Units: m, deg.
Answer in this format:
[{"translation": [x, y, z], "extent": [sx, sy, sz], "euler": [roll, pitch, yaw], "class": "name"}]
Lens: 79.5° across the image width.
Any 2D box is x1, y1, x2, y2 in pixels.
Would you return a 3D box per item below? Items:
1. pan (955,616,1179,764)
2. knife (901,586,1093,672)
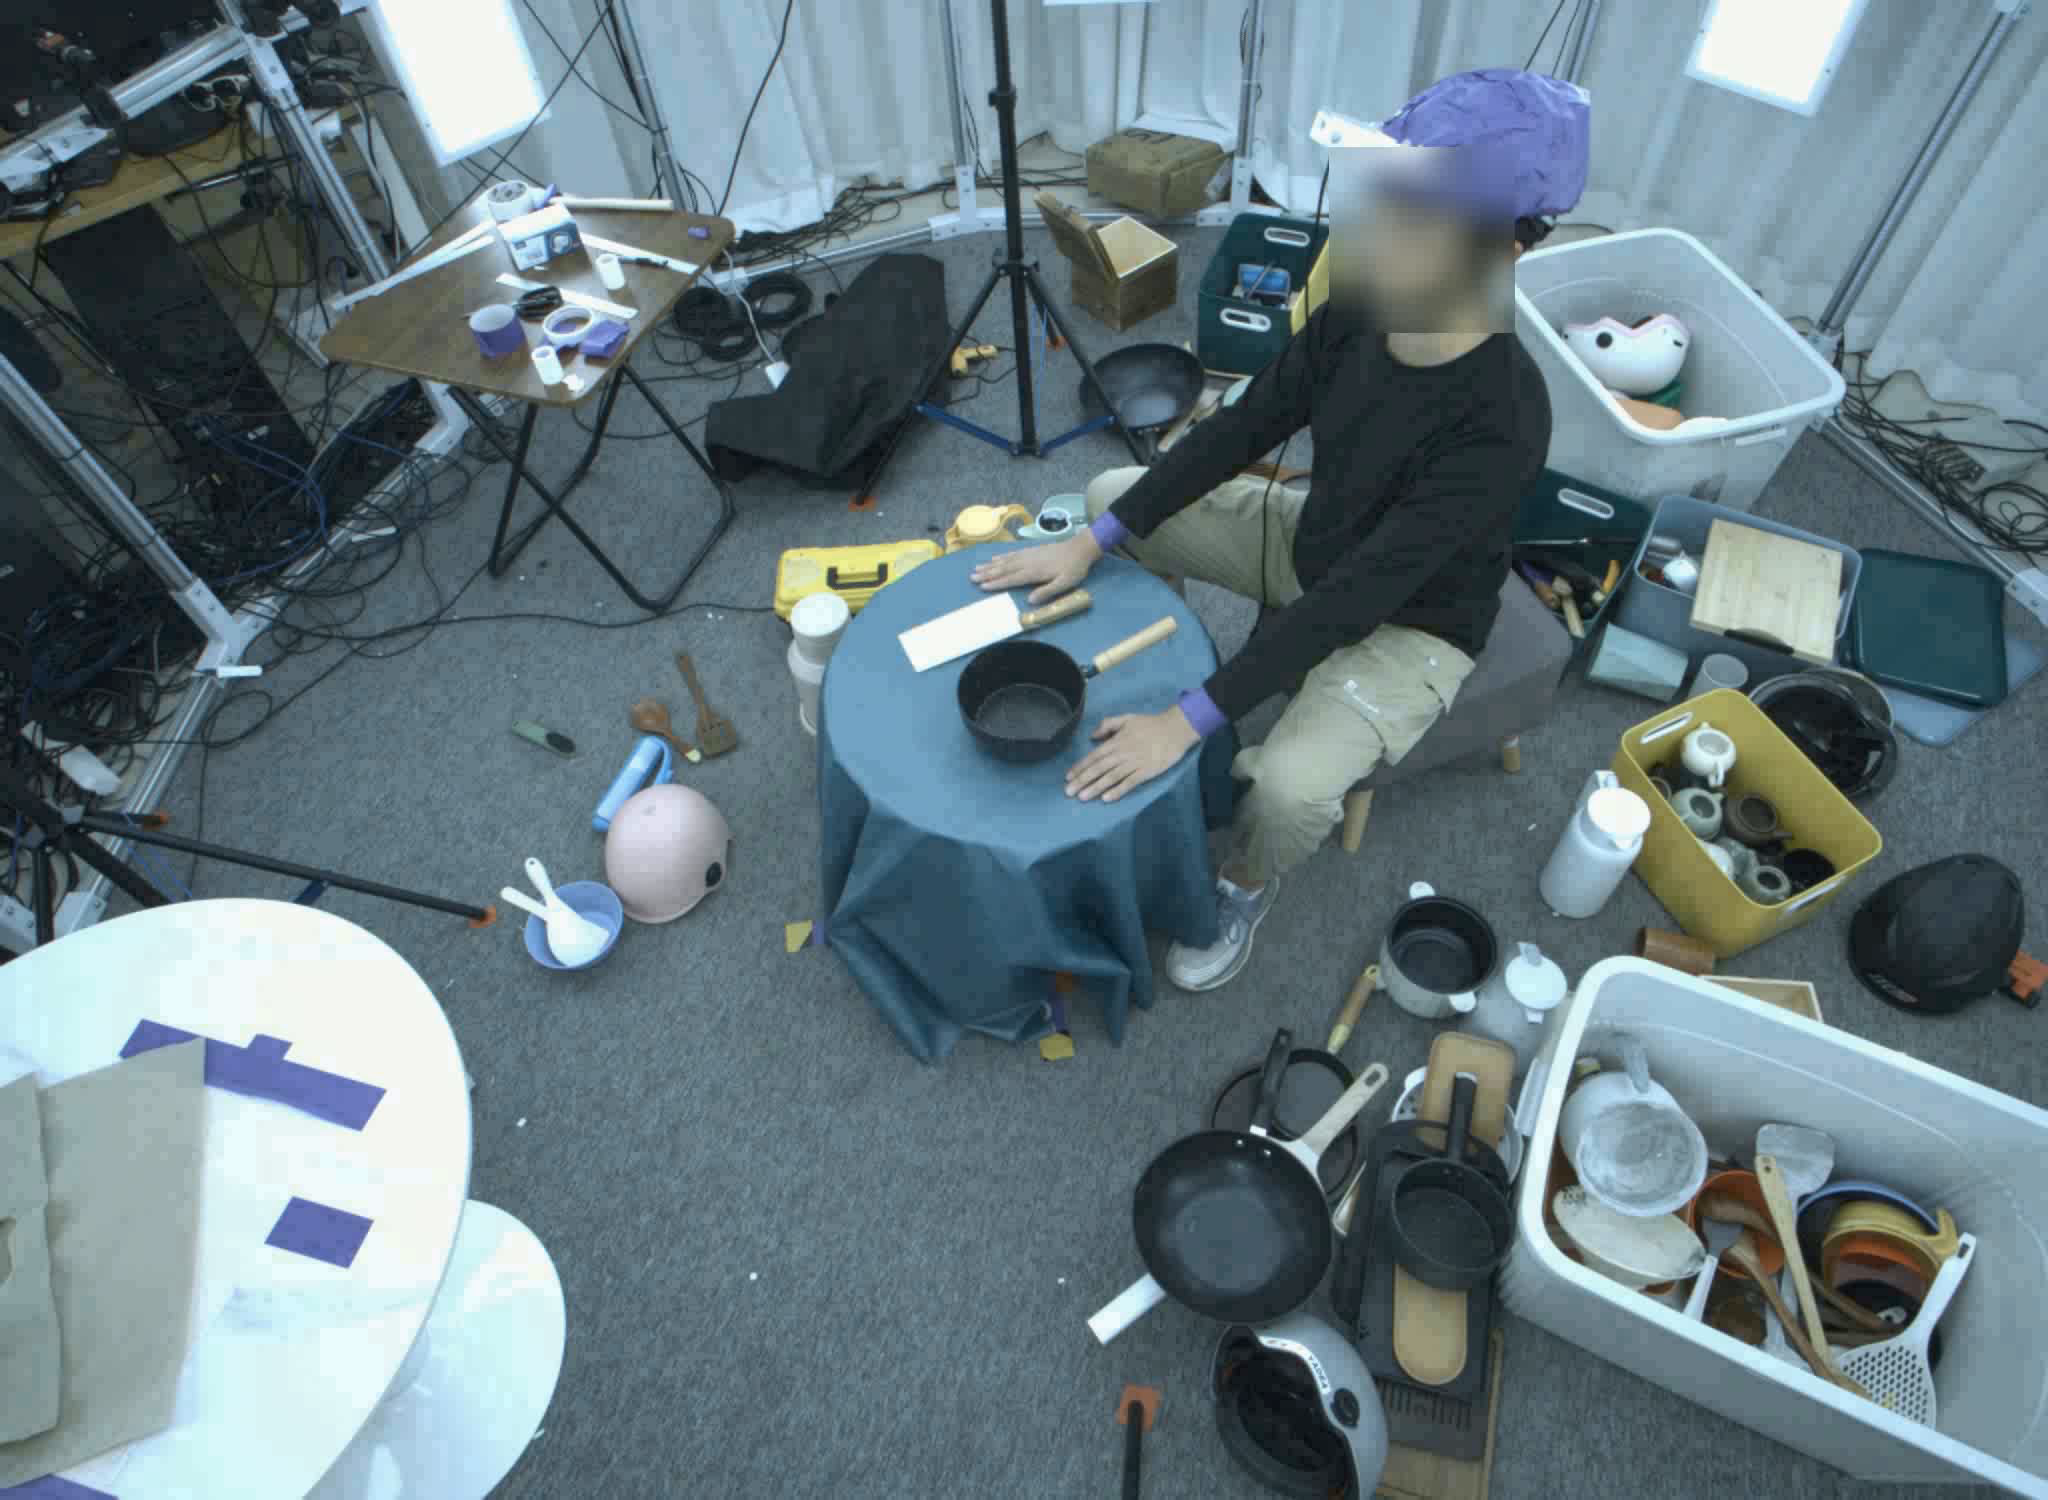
[{"translation": [0.068, -0.101, 1.788], "extent": [0.345, 0.109, 0.203], "euler": [-23, 57, -13], "class": "pan"}, {"translation": [-0.045, -0.206, 1.922], "extent": [0.307, 0.021, 0.091], "euler": [-23, 56, -11], "class": "knife"}]
